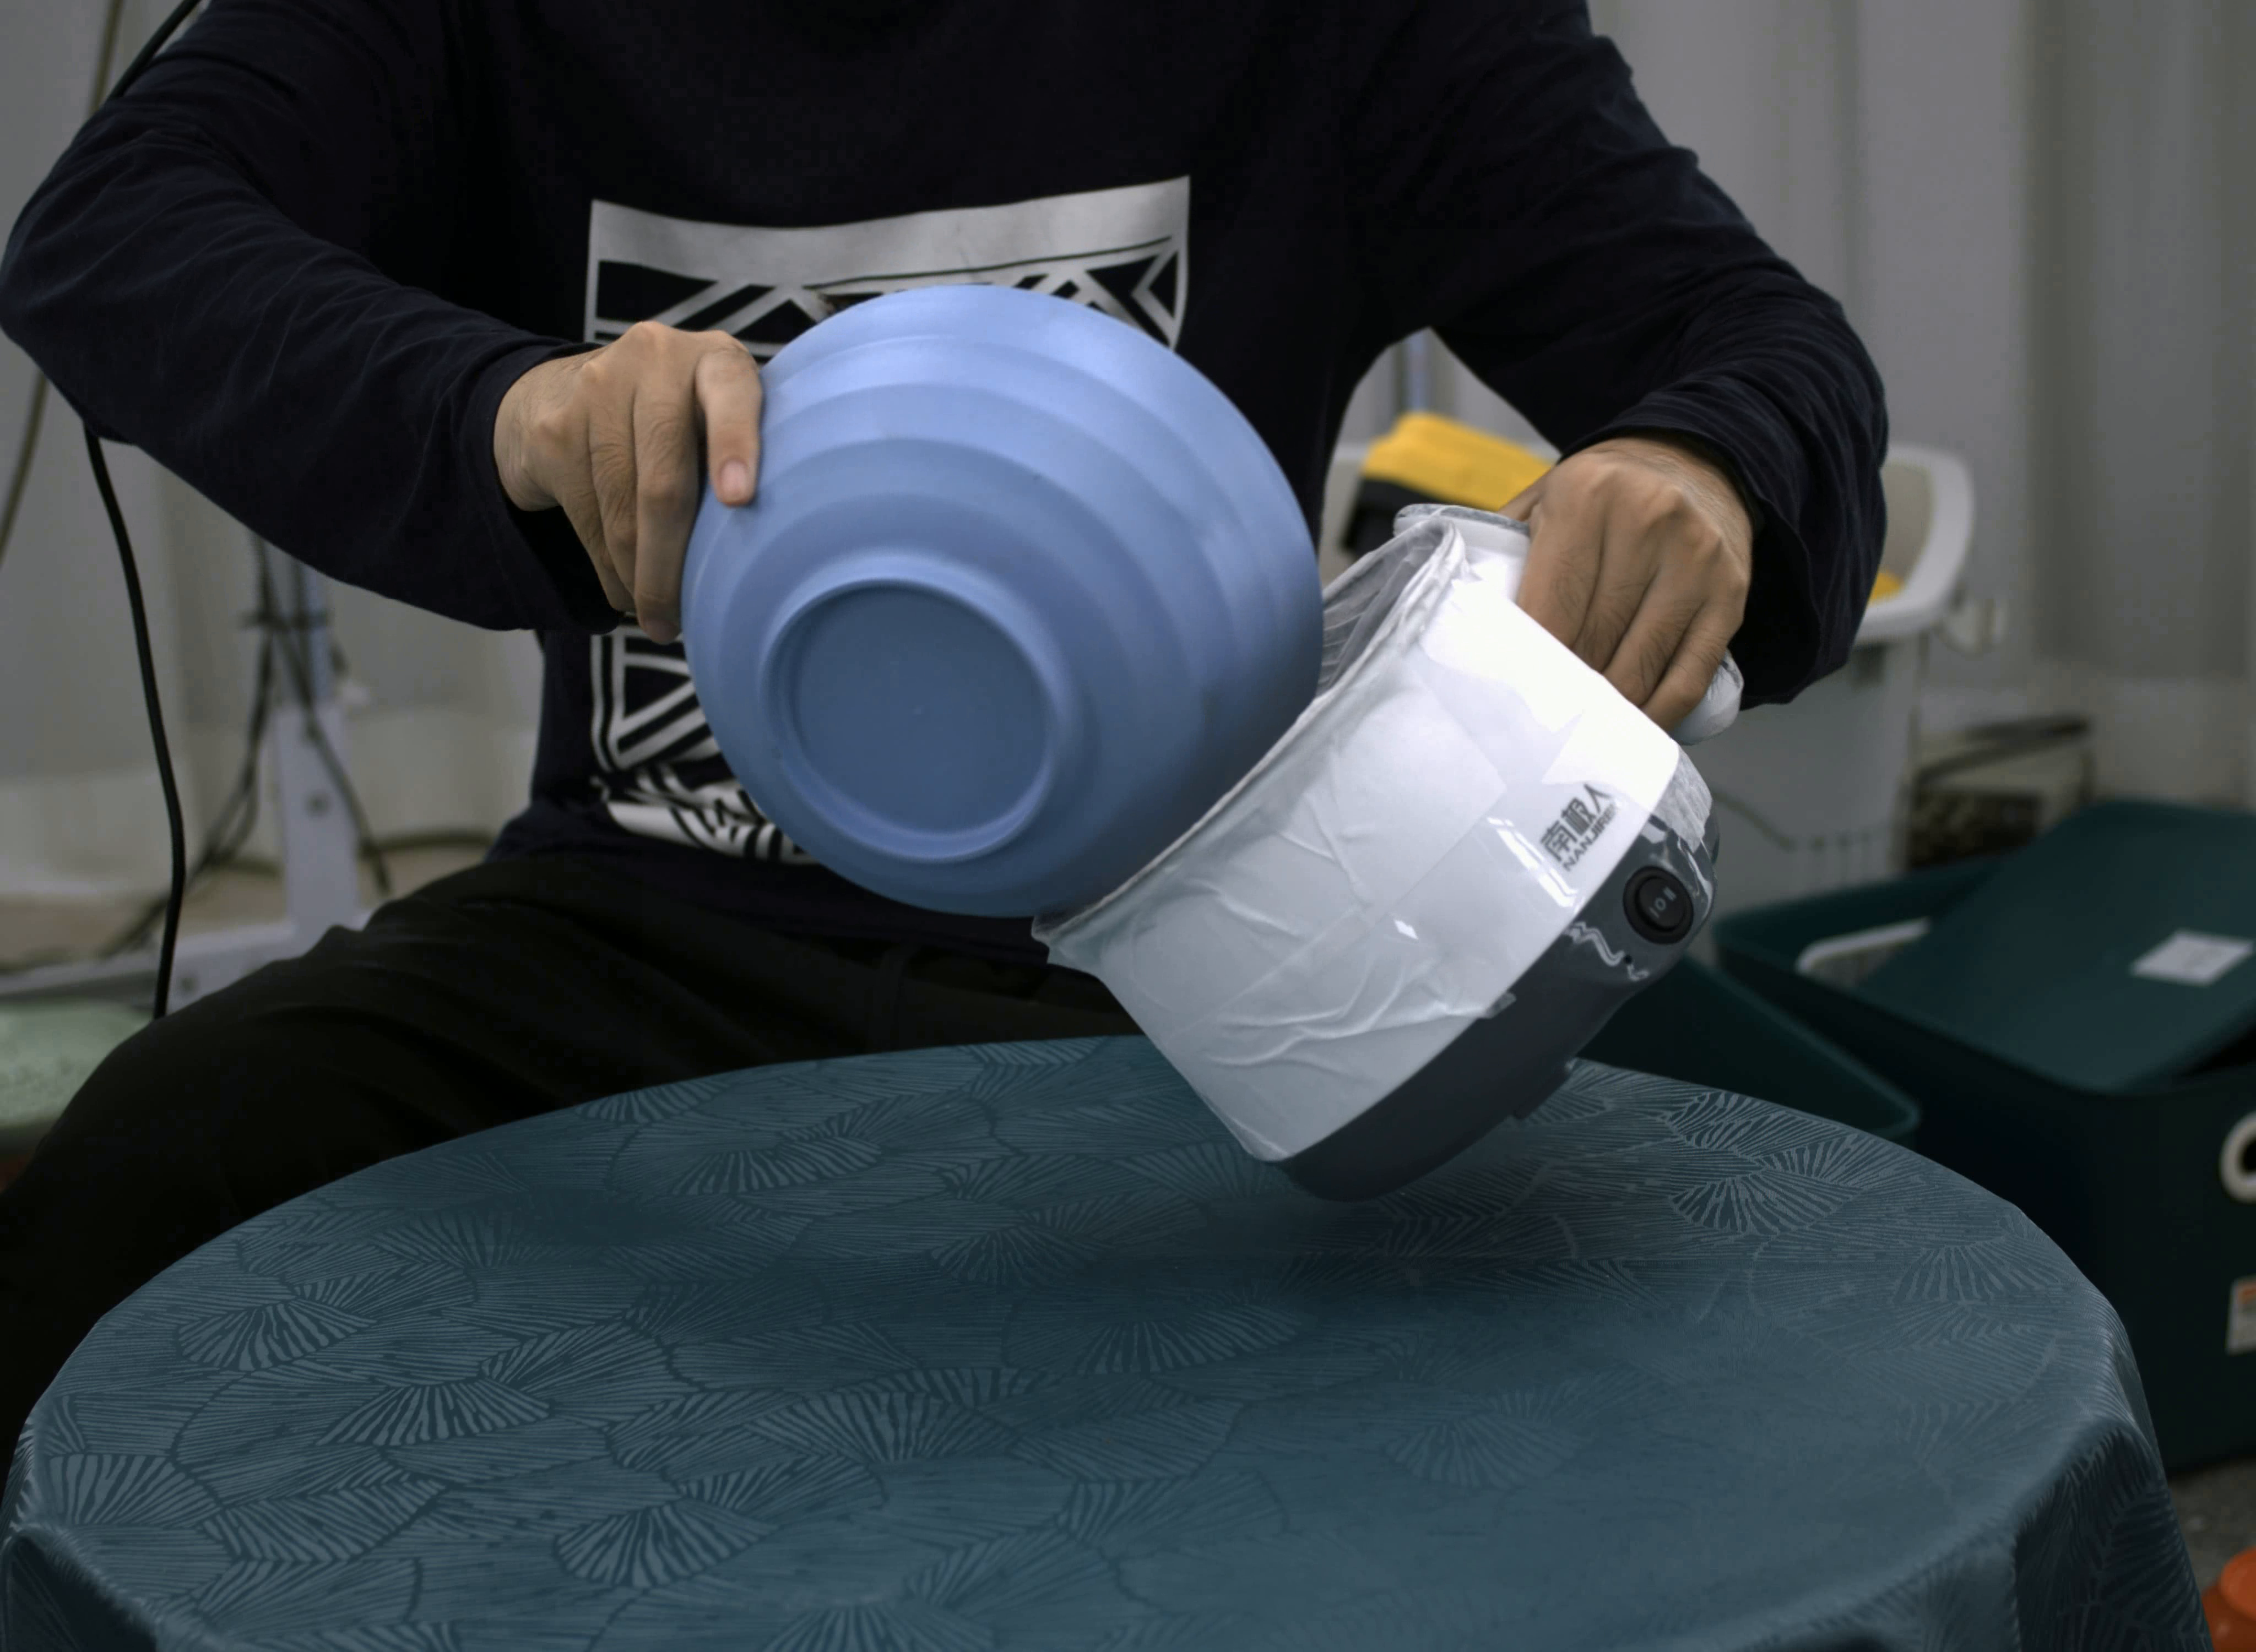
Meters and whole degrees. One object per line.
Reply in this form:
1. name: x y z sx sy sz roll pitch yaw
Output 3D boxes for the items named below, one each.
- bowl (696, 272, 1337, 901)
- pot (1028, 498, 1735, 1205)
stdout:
1. bowl: -0.045 -0.053 1.601 0.196 0.194 0.096 3 30 19
2. pot: 0.092 -0.003 1.654 0.235 0.136 0.178 -51 12 -35
